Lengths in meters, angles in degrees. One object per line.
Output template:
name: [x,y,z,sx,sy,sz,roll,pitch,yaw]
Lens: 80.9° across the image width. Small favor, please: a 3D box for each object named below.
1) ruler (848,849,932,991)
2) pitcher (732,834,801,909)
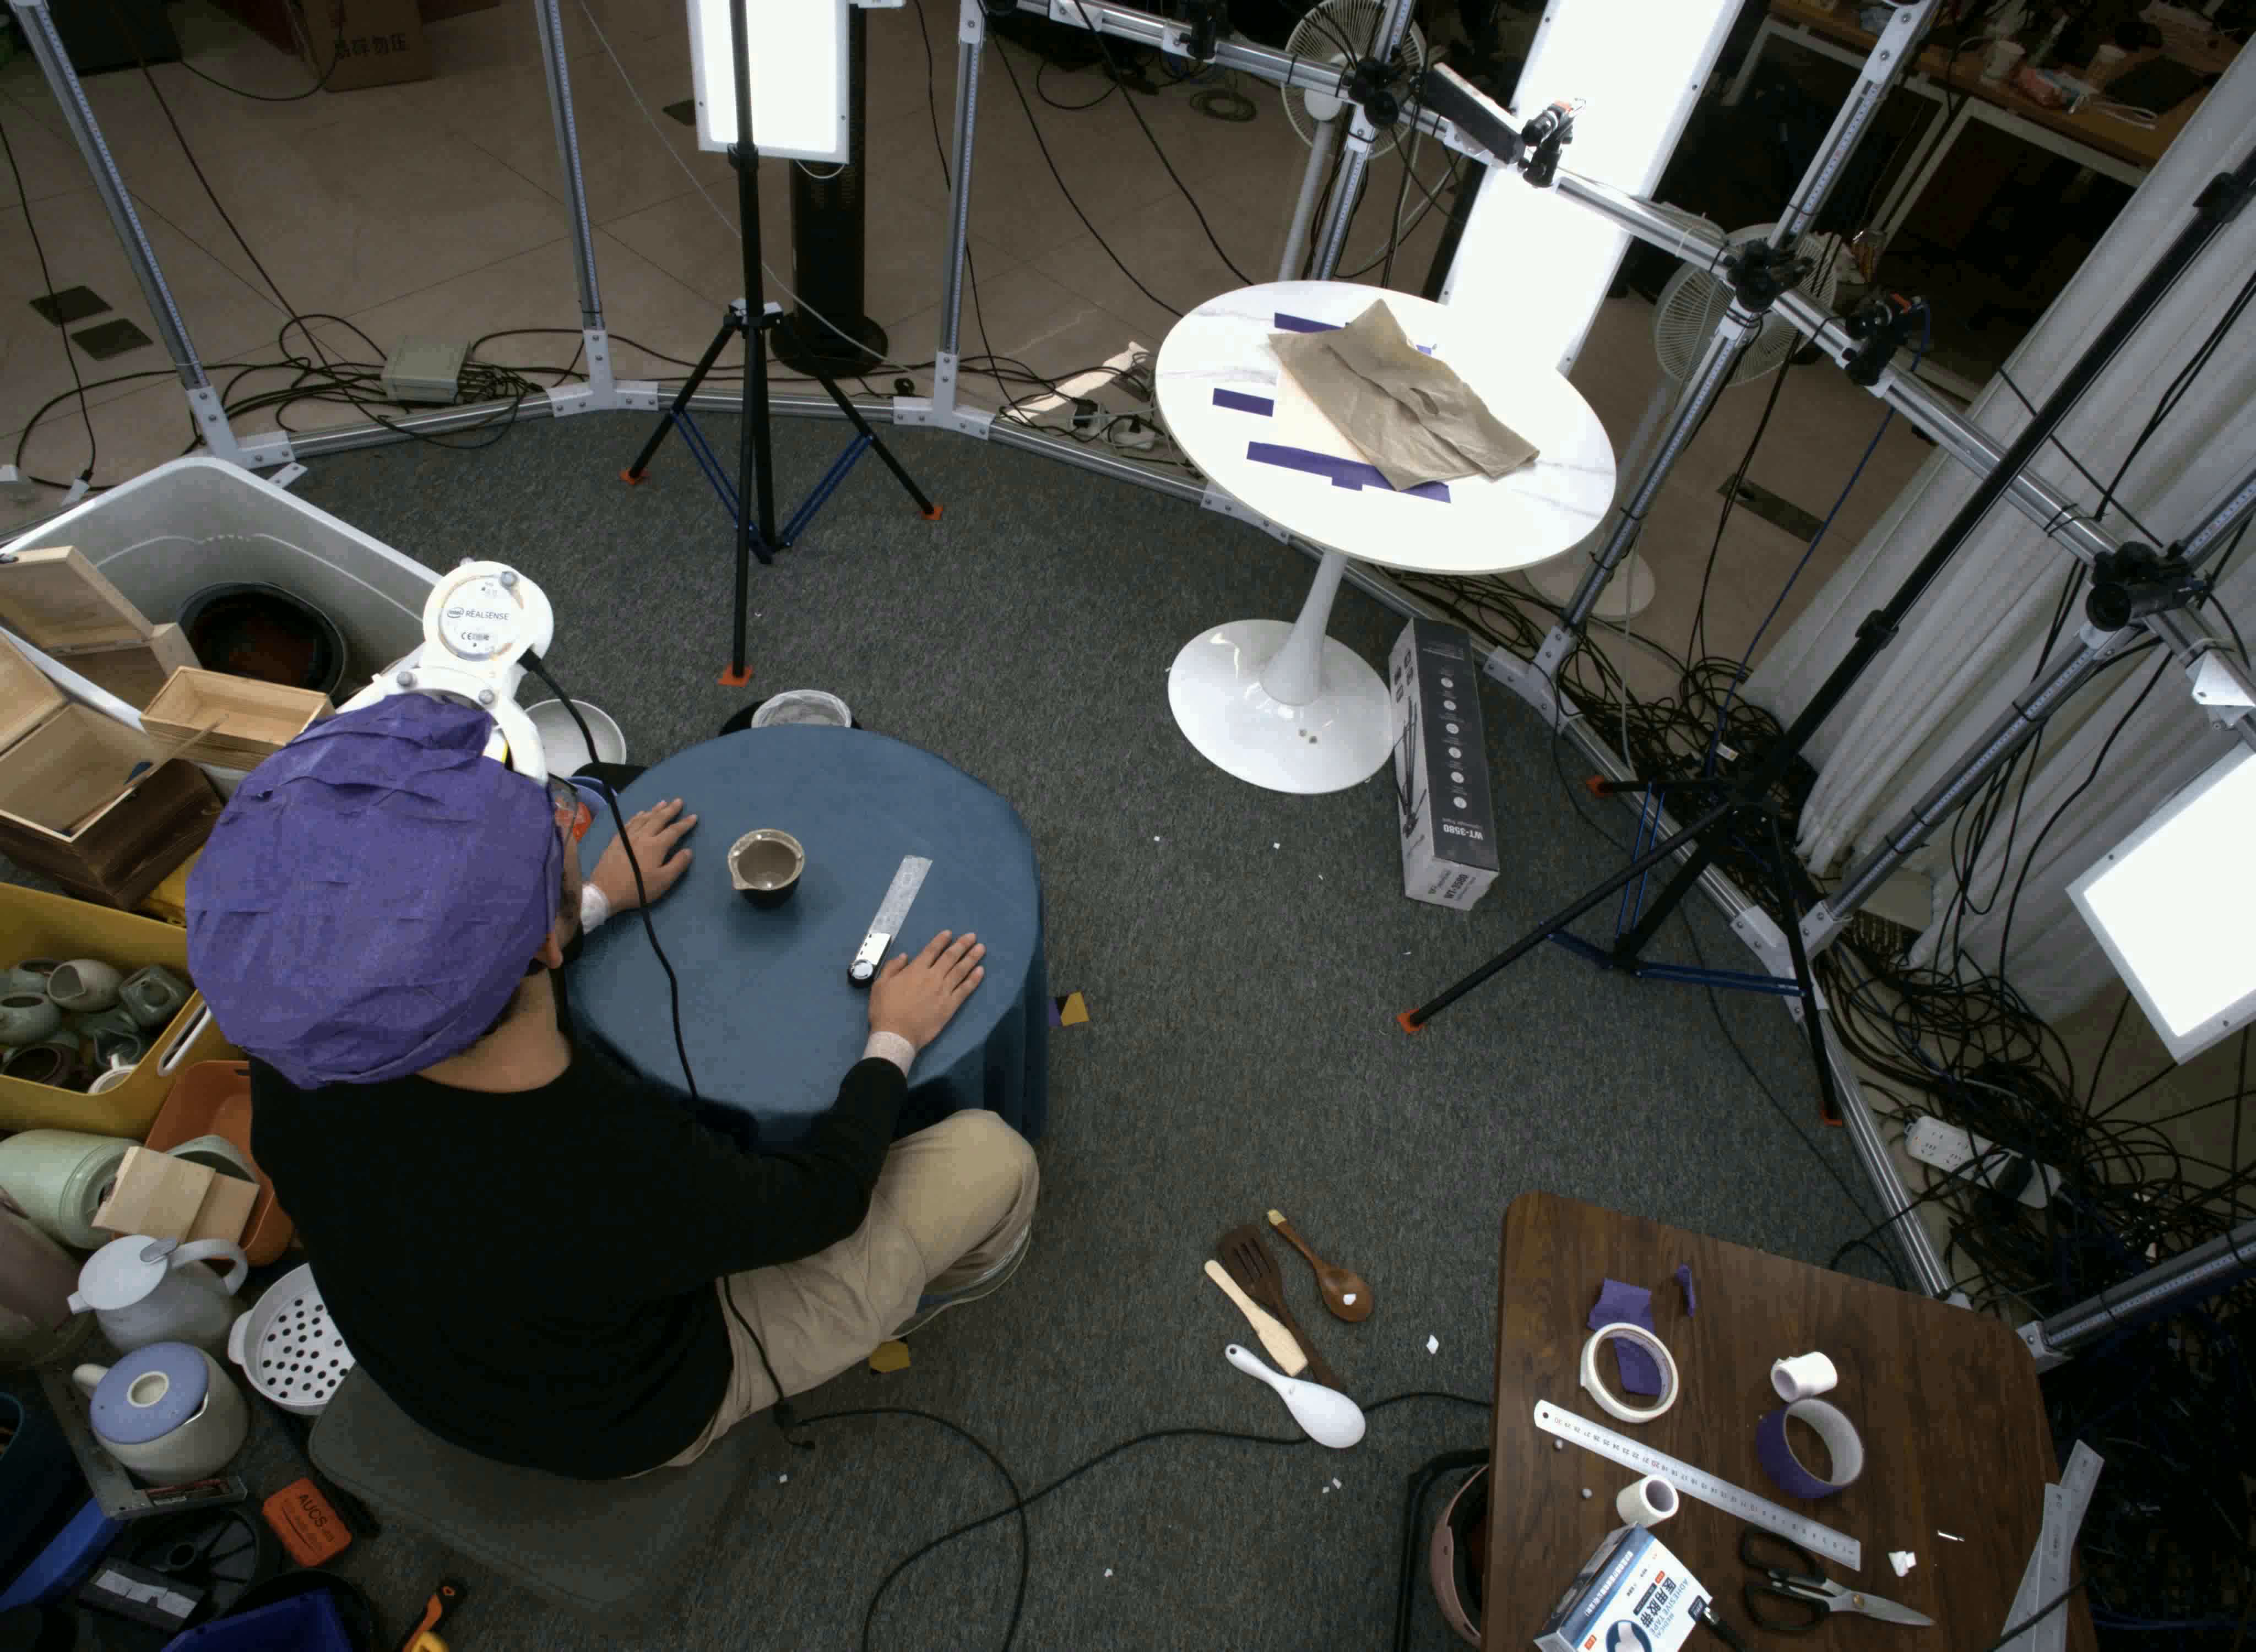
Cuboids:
ruler: [-0.302,0.111,1.653,0.038,0.024,0.216,23,53,-4]
pitcher: [-0.455,0.063,1.616,0.082,0.073,0.096,32,52,11]
